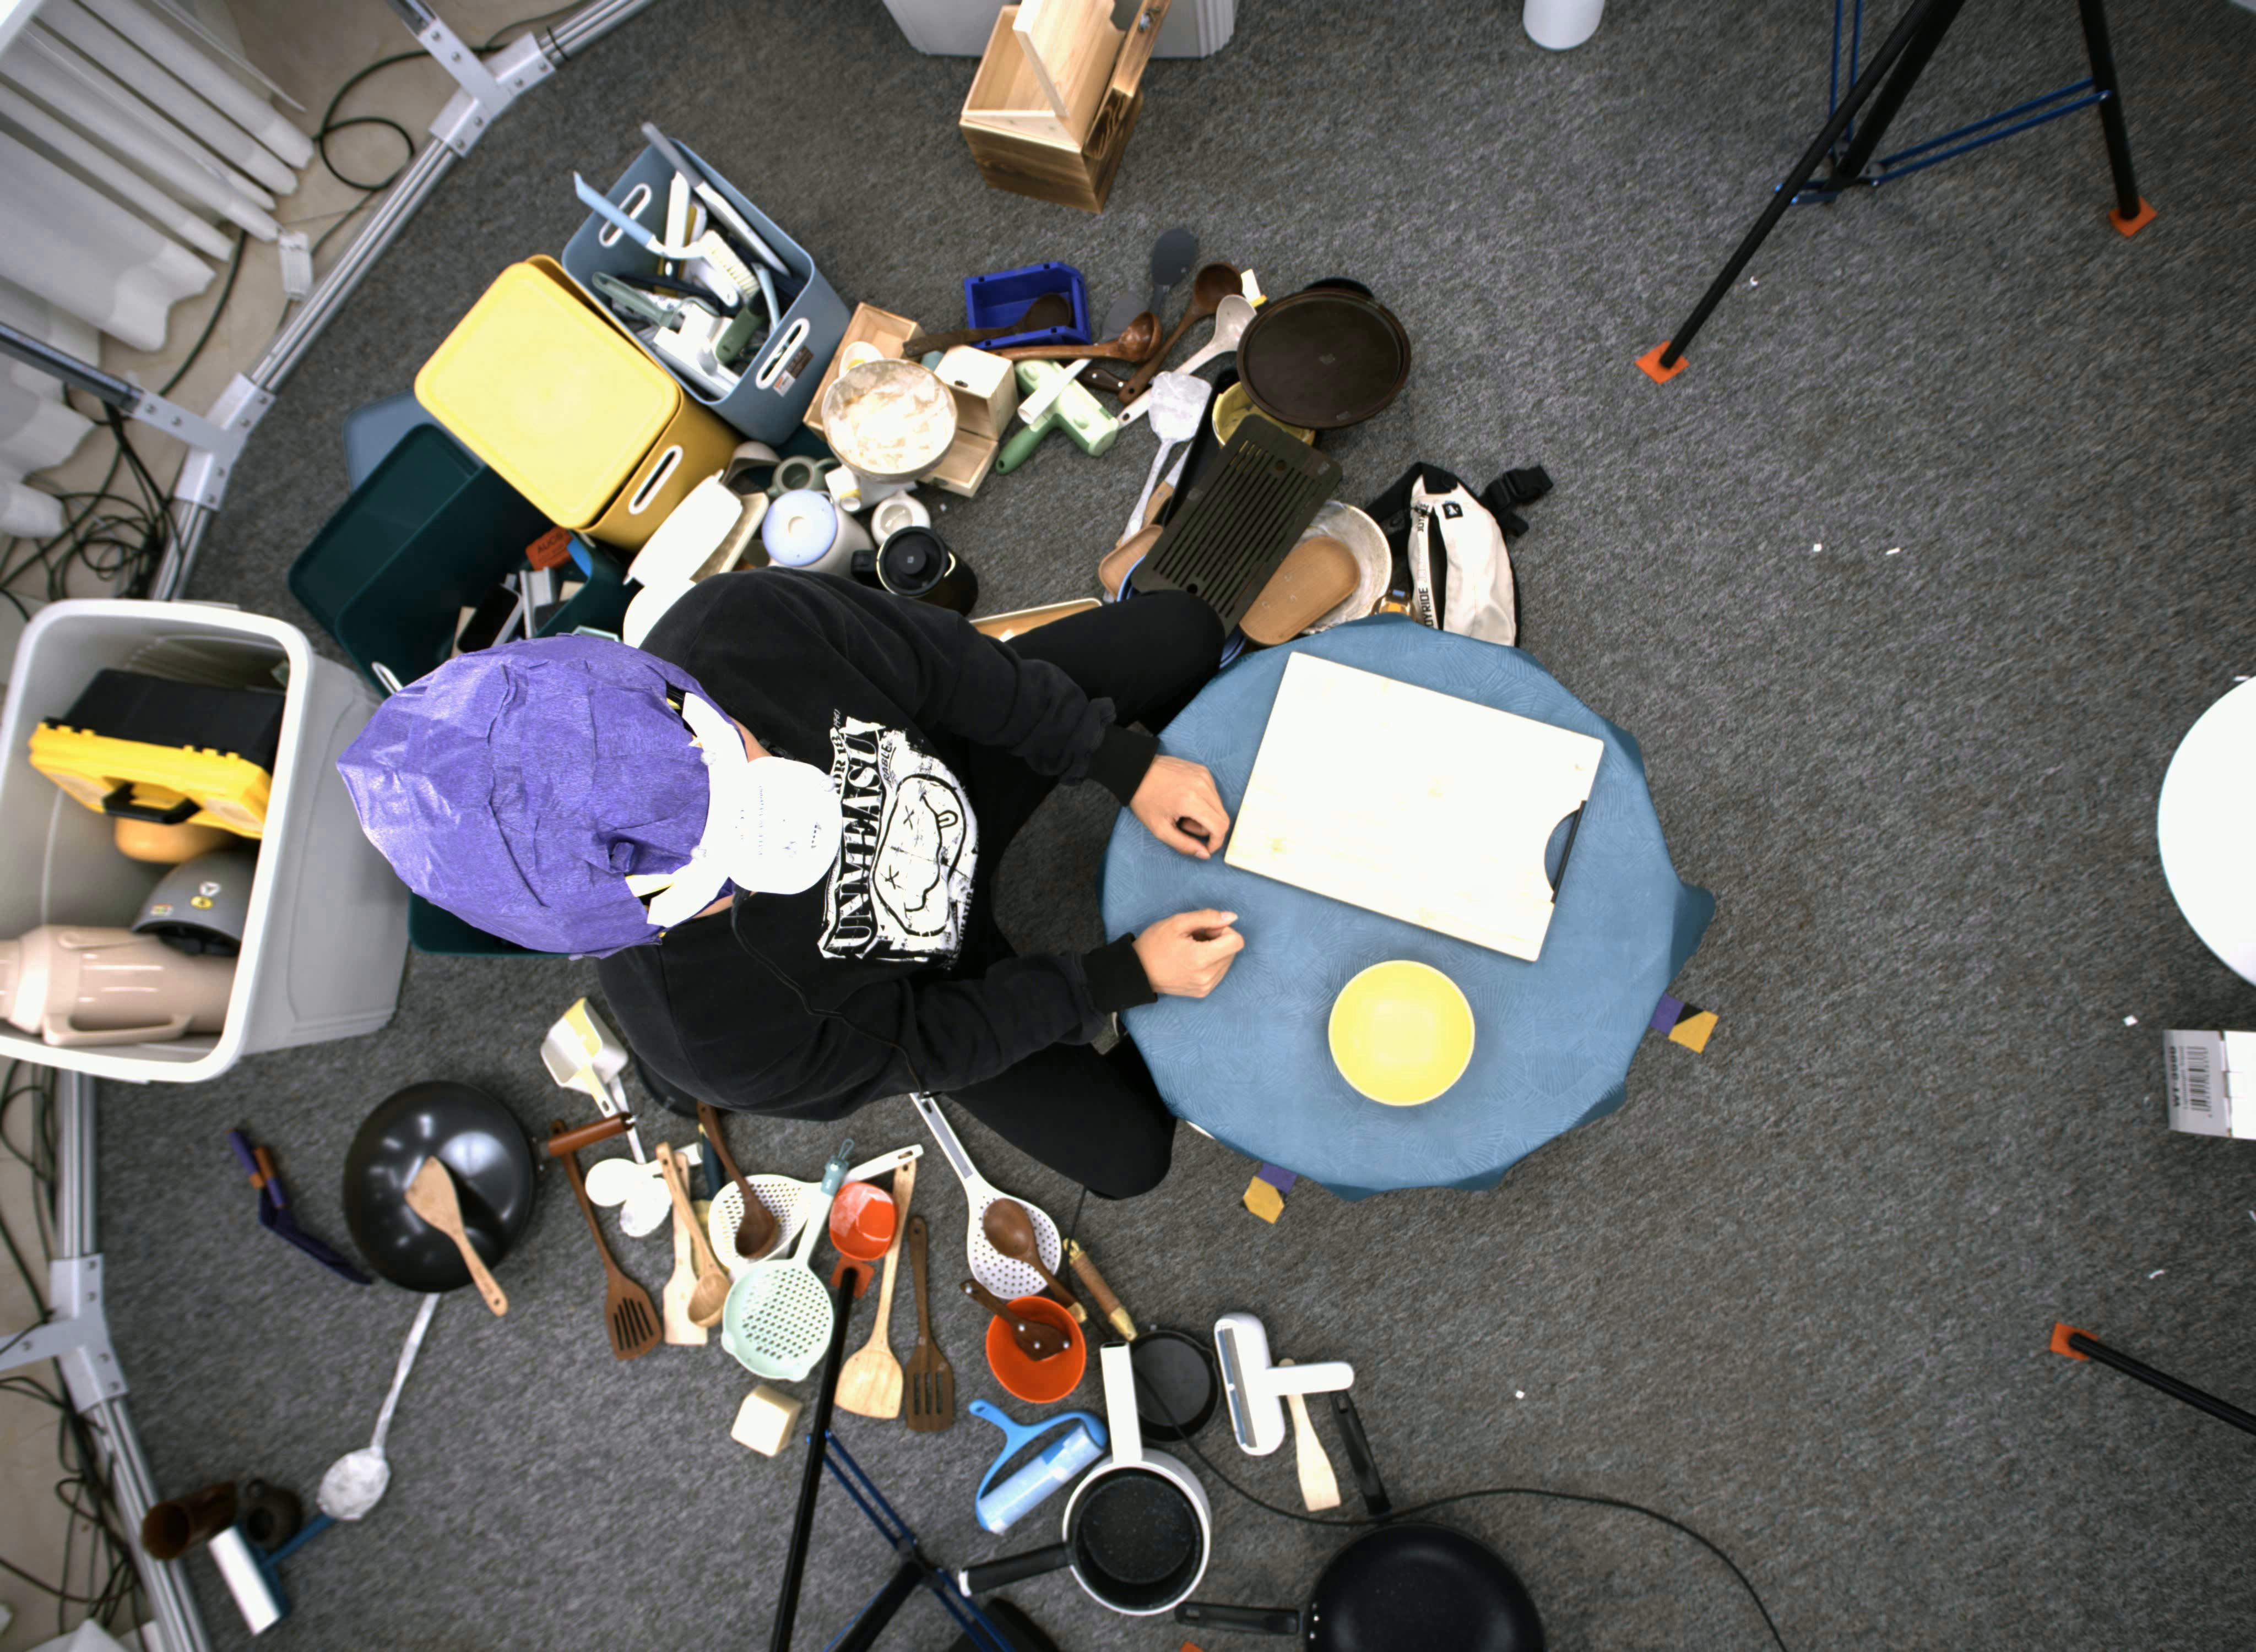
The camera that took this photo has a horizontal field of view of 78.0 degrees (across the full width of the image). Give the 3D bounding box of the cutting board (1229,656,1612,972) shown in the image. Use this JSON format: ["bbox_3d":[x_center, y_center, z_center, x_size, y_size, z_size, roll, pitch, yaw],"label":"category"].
[{"bbox_3d":[0.306,-0.019,1.456,0.349,0.023,0.250,17,90,11],"label":"cutting board"}]

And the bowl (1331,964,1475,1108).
[{"bbox_3d":[0.283,0.215,1.425,0.146,0.060,0.144,-2,83,11],"label":"bowl"}]
